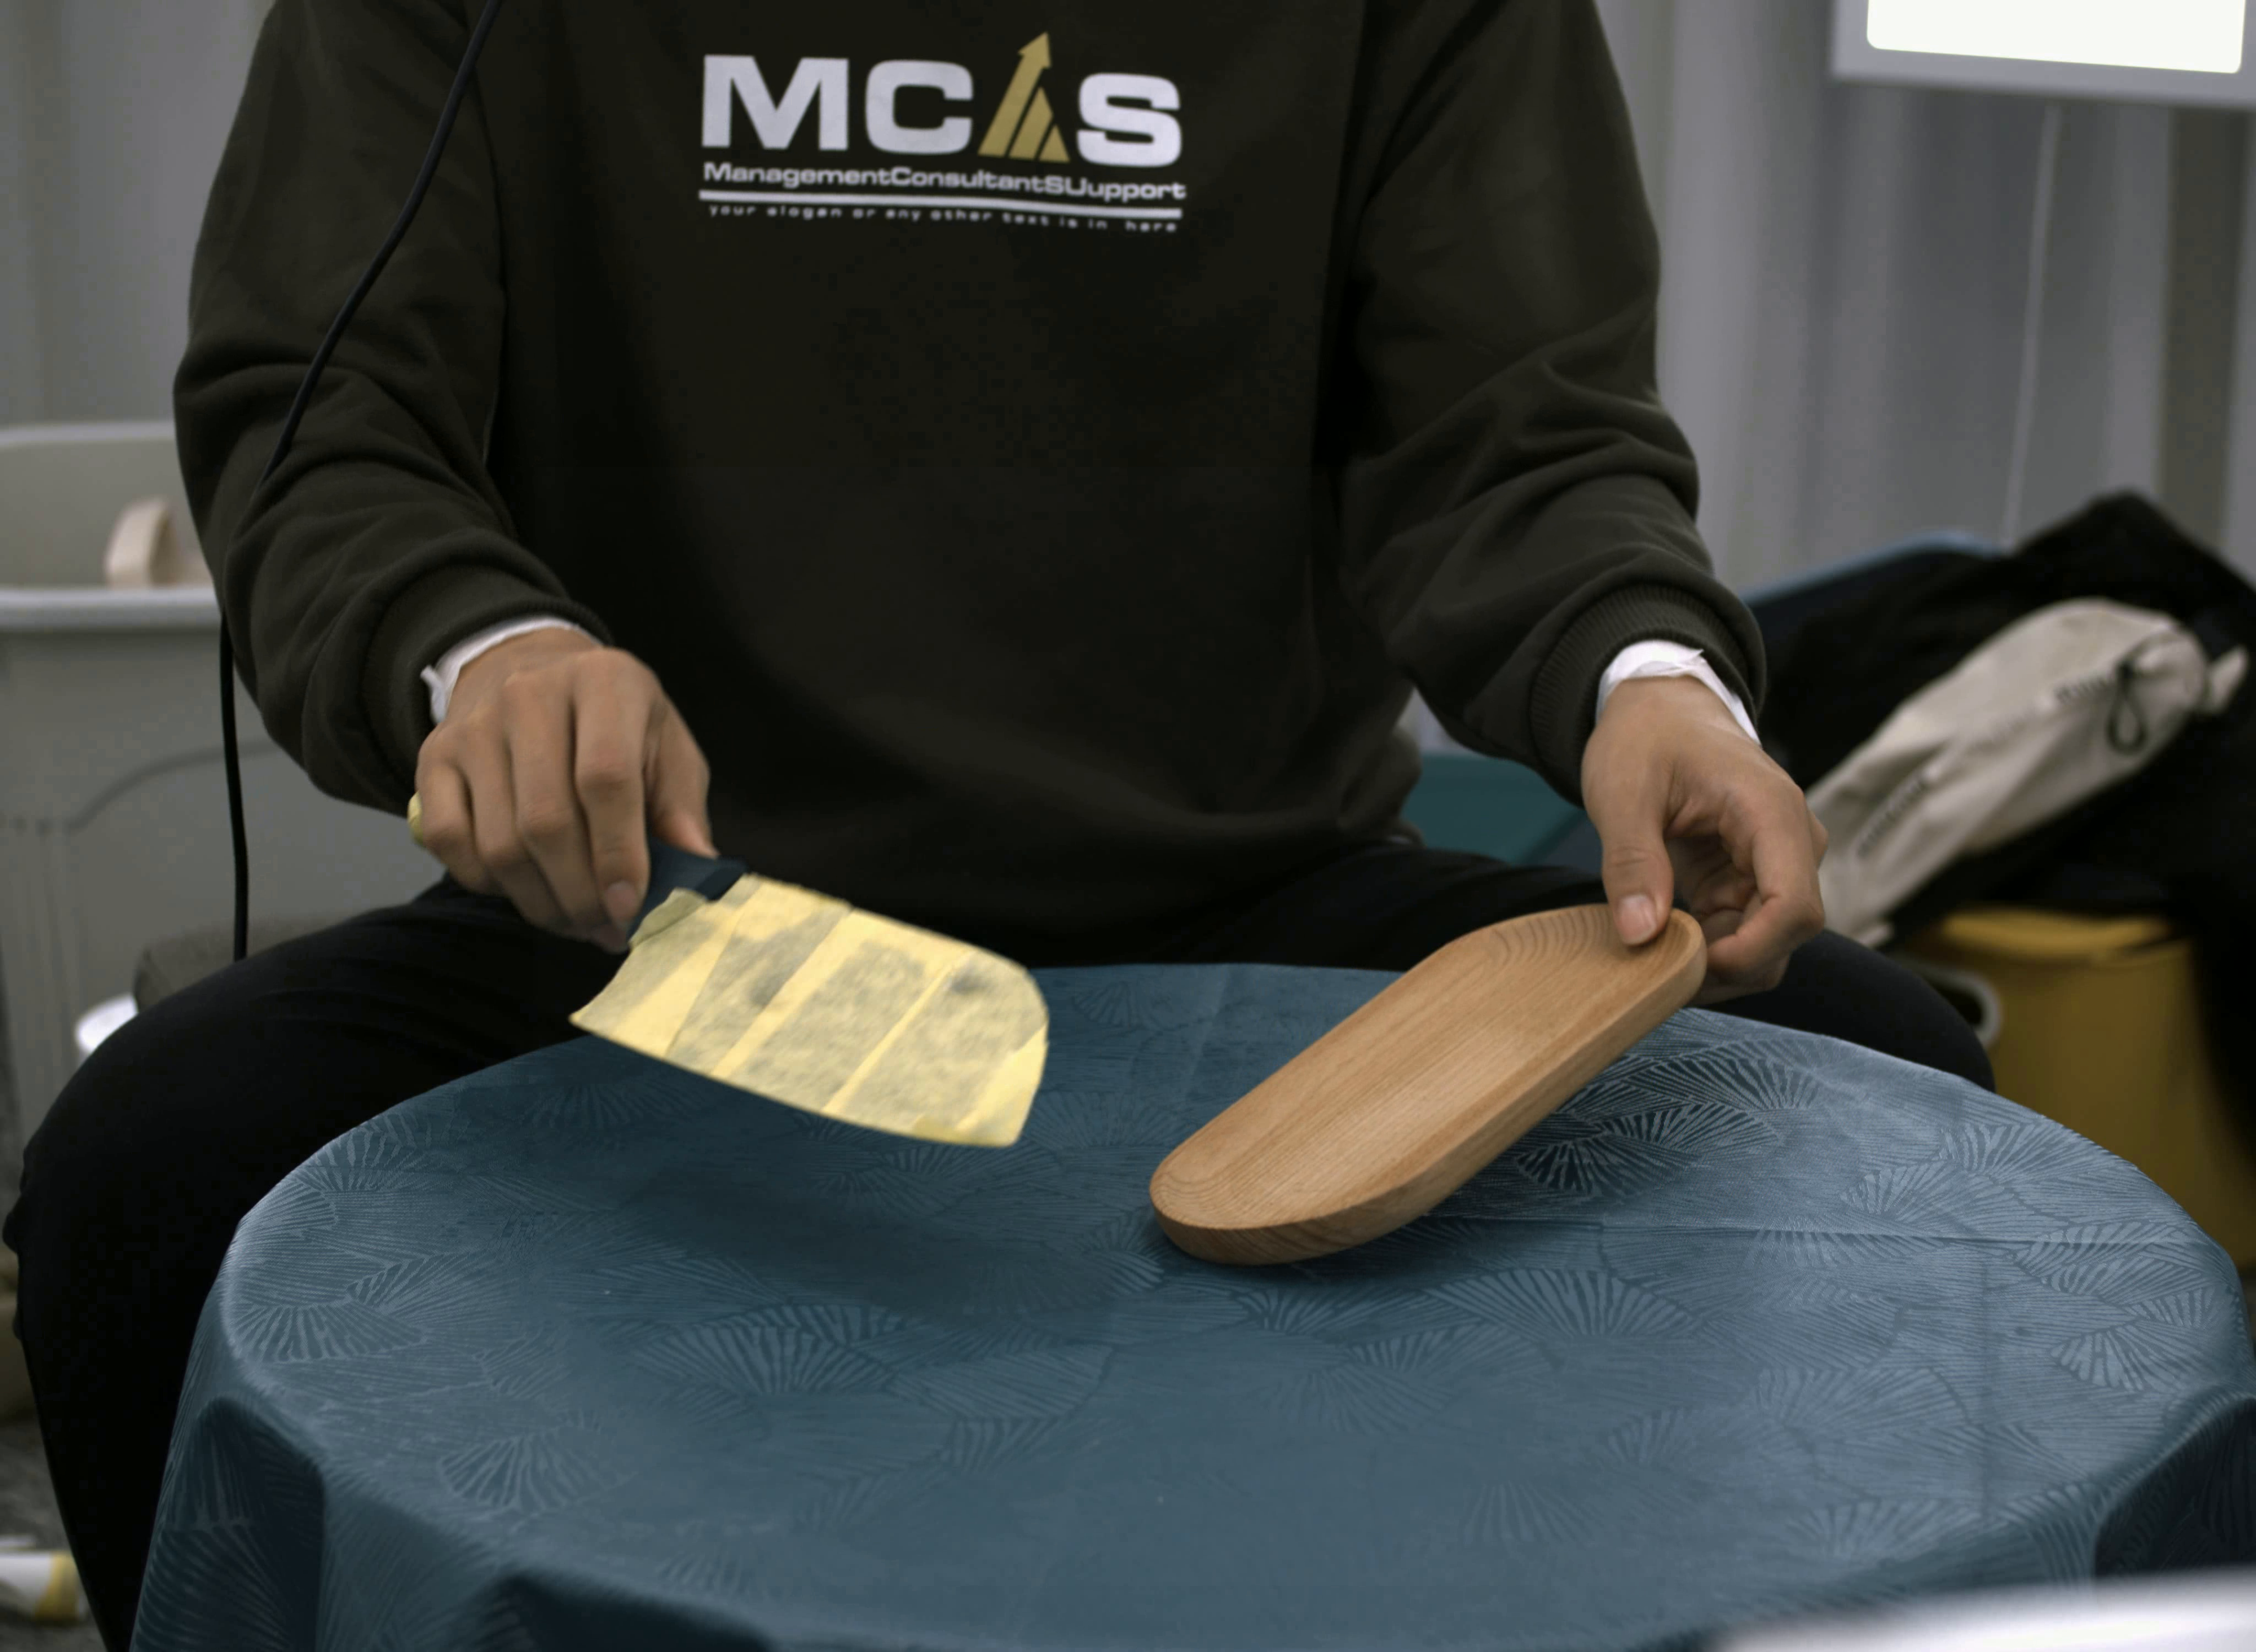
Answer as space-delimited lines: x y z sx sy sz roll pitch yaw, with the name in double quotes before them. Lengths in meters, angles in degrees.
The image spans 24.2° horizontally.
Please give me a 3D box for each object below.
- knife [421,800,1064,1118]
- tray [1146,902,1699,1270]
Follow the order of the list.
"knife" -0.125 0.039 1.598 0.285 0.027 0.081 18 55 41
"tray" 0.094 0.078 1.628 0.100 0.020 0.231 -1 25 41
